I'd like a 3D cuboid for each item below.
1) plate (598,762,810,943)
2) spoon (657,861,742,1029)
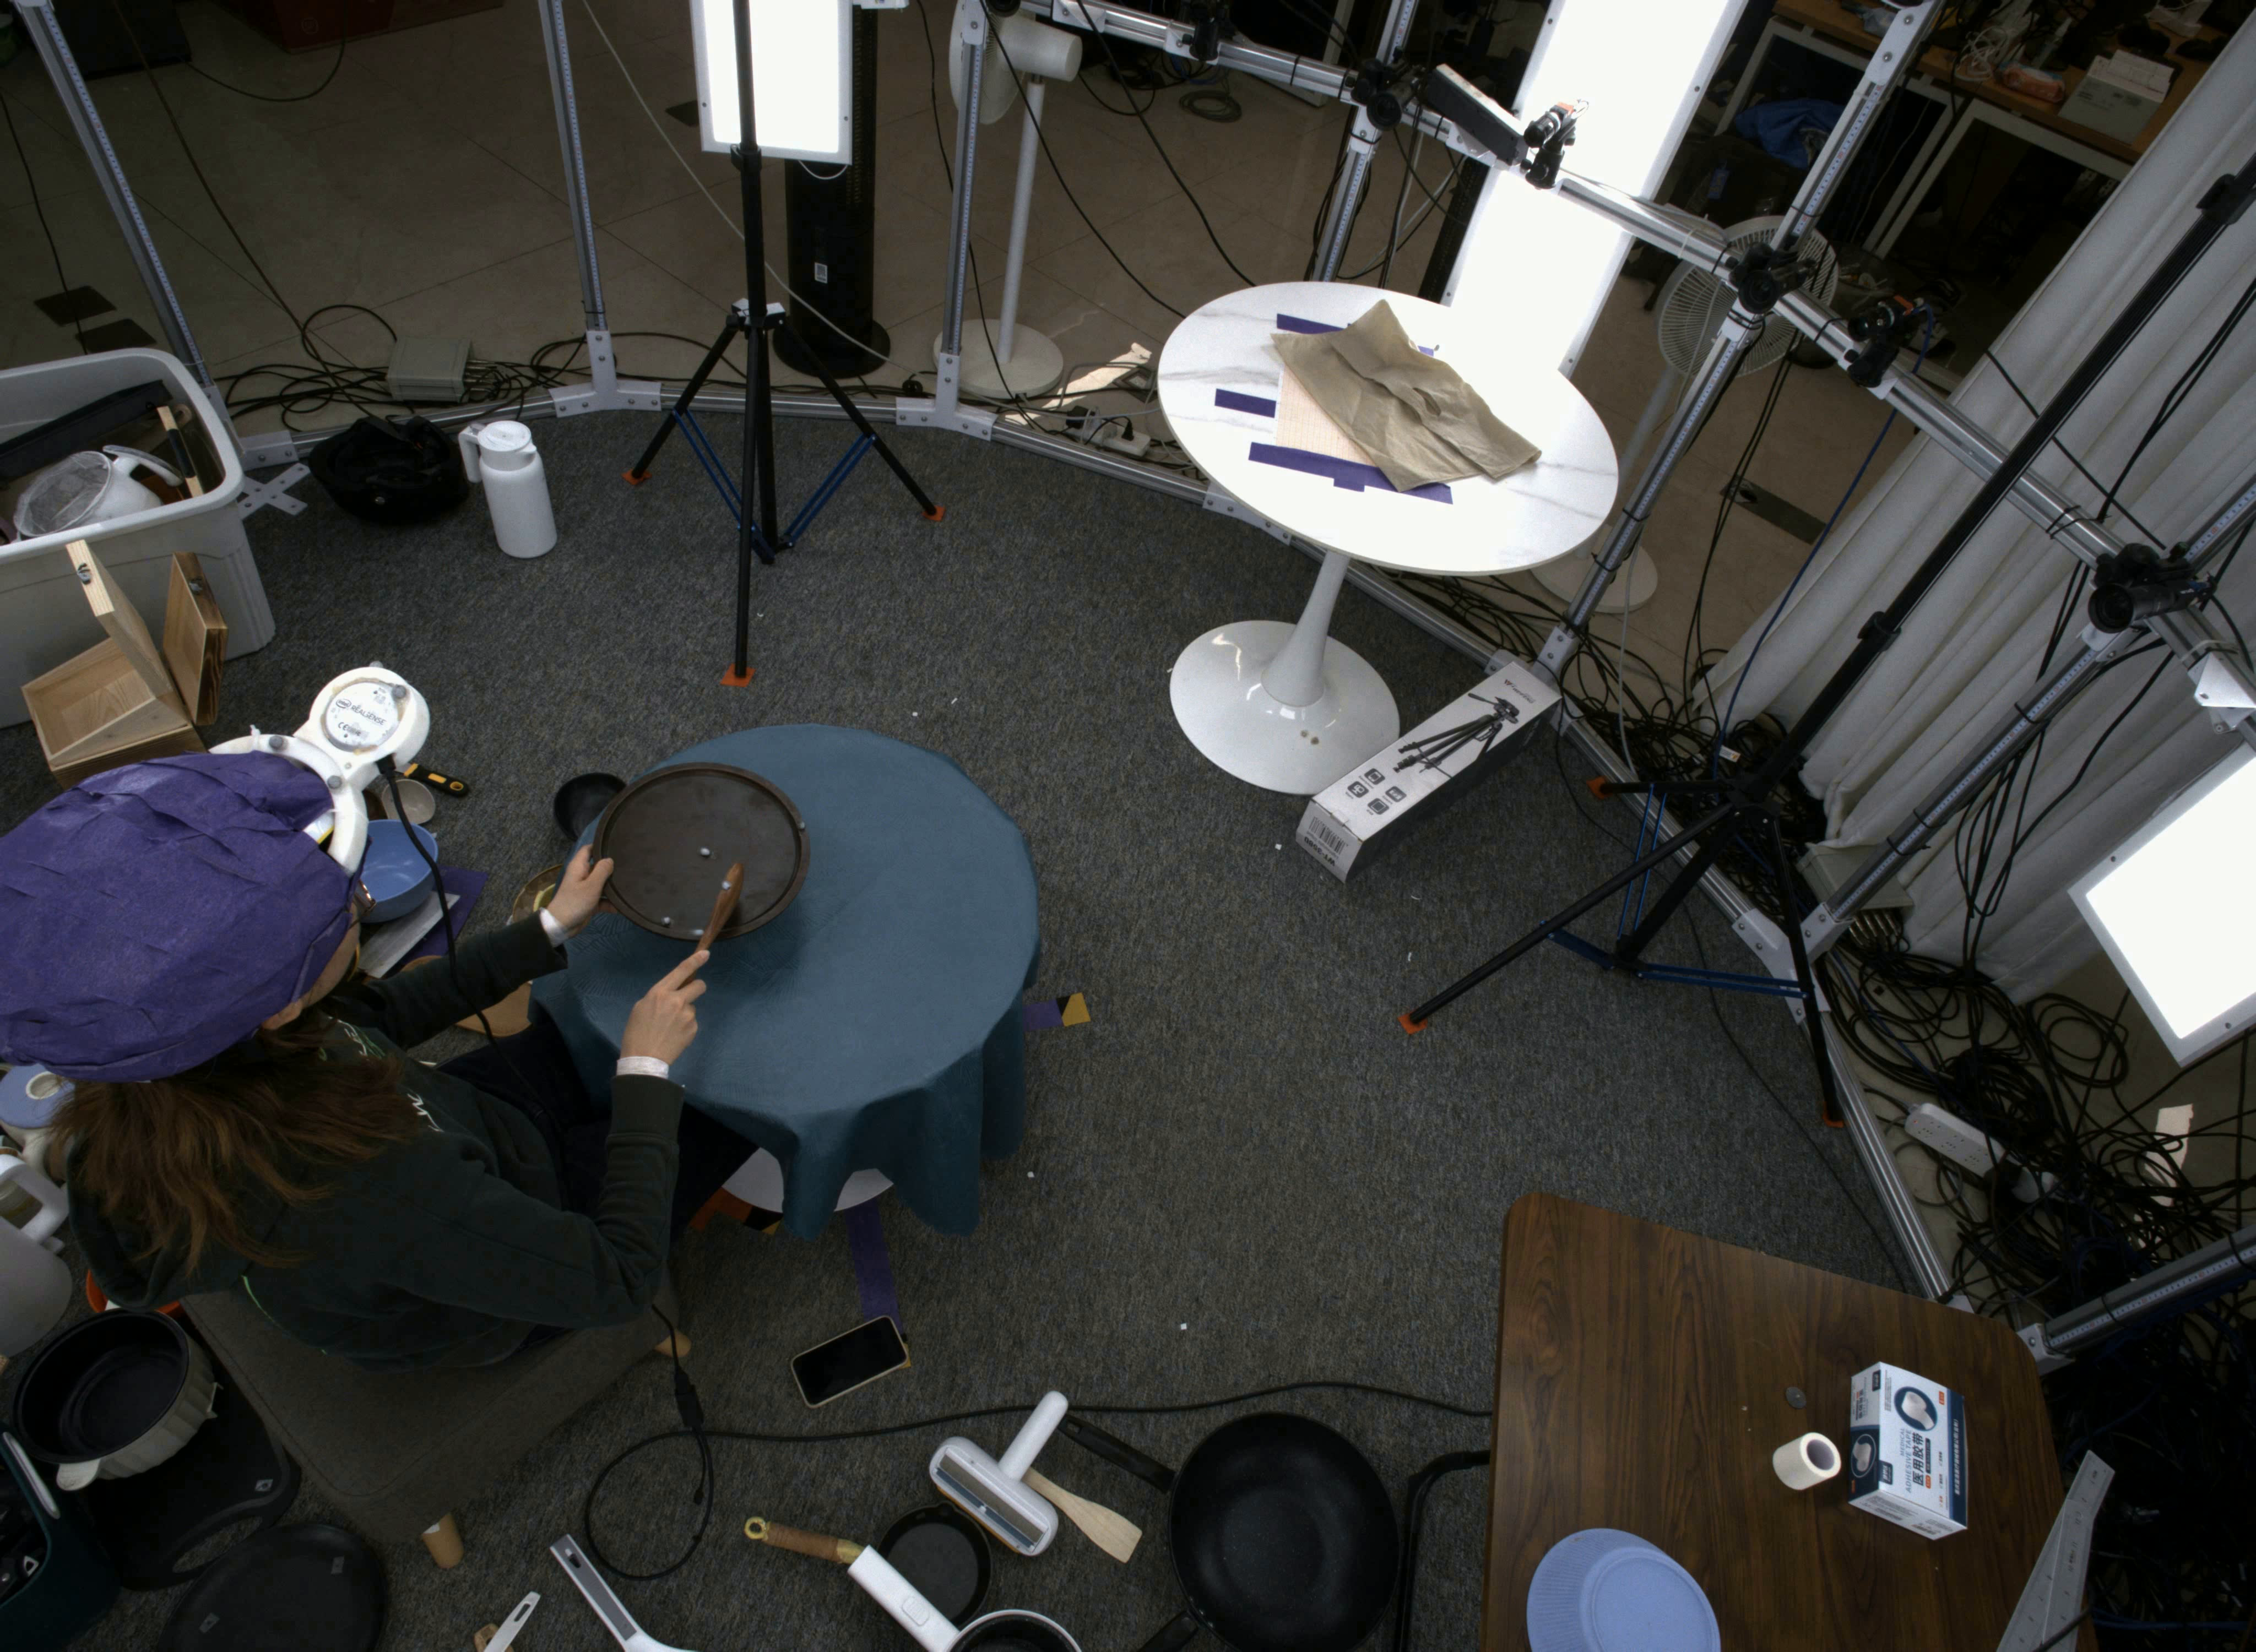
[{"bbox_3d":[-0.512,0.028,1.553,0.255,0.029,0.250,11,55,-13],"label":"plate"},{"bbox_3d":[-0.474,0.128,1.441,0.017,0.076,0.213,23,53,-7],"label":"spoon"}]
